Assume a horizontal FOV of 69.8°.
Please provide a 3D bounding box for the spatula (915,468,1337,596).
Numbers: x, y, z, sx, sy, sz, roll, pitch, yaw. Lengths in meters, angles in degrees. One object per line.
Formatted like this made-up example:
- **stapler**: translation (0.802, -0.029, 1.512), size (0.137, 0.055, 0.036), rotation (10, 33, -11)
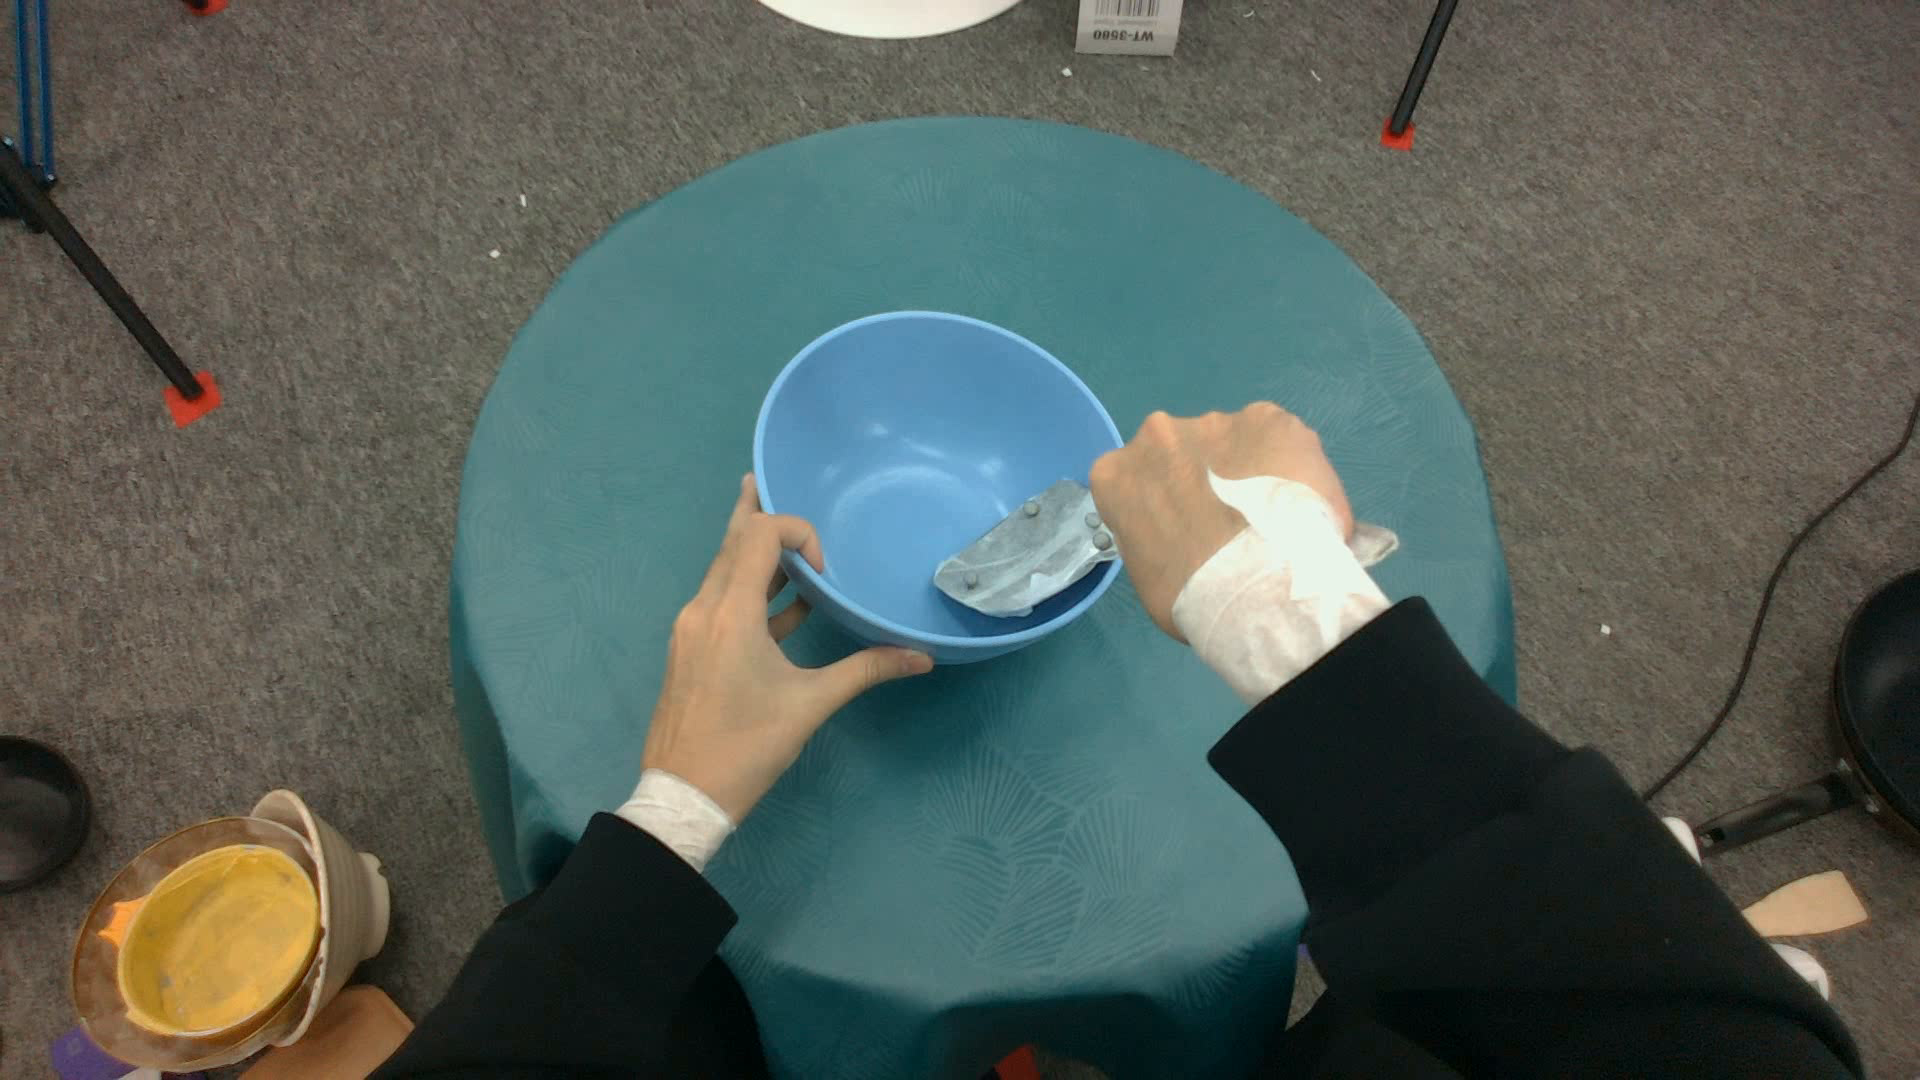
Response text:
- **spatula**: translation (0.063, -0.005, 0.589), size (0.099, 0.364, 0.045), rotation (-31, 95, -13)

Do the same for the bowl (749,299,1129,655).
- **bowl**: translation (-0.019, -0.019, 0.723), size (0.196, 0.095, 0.197), rotation (8, 59, -14)
